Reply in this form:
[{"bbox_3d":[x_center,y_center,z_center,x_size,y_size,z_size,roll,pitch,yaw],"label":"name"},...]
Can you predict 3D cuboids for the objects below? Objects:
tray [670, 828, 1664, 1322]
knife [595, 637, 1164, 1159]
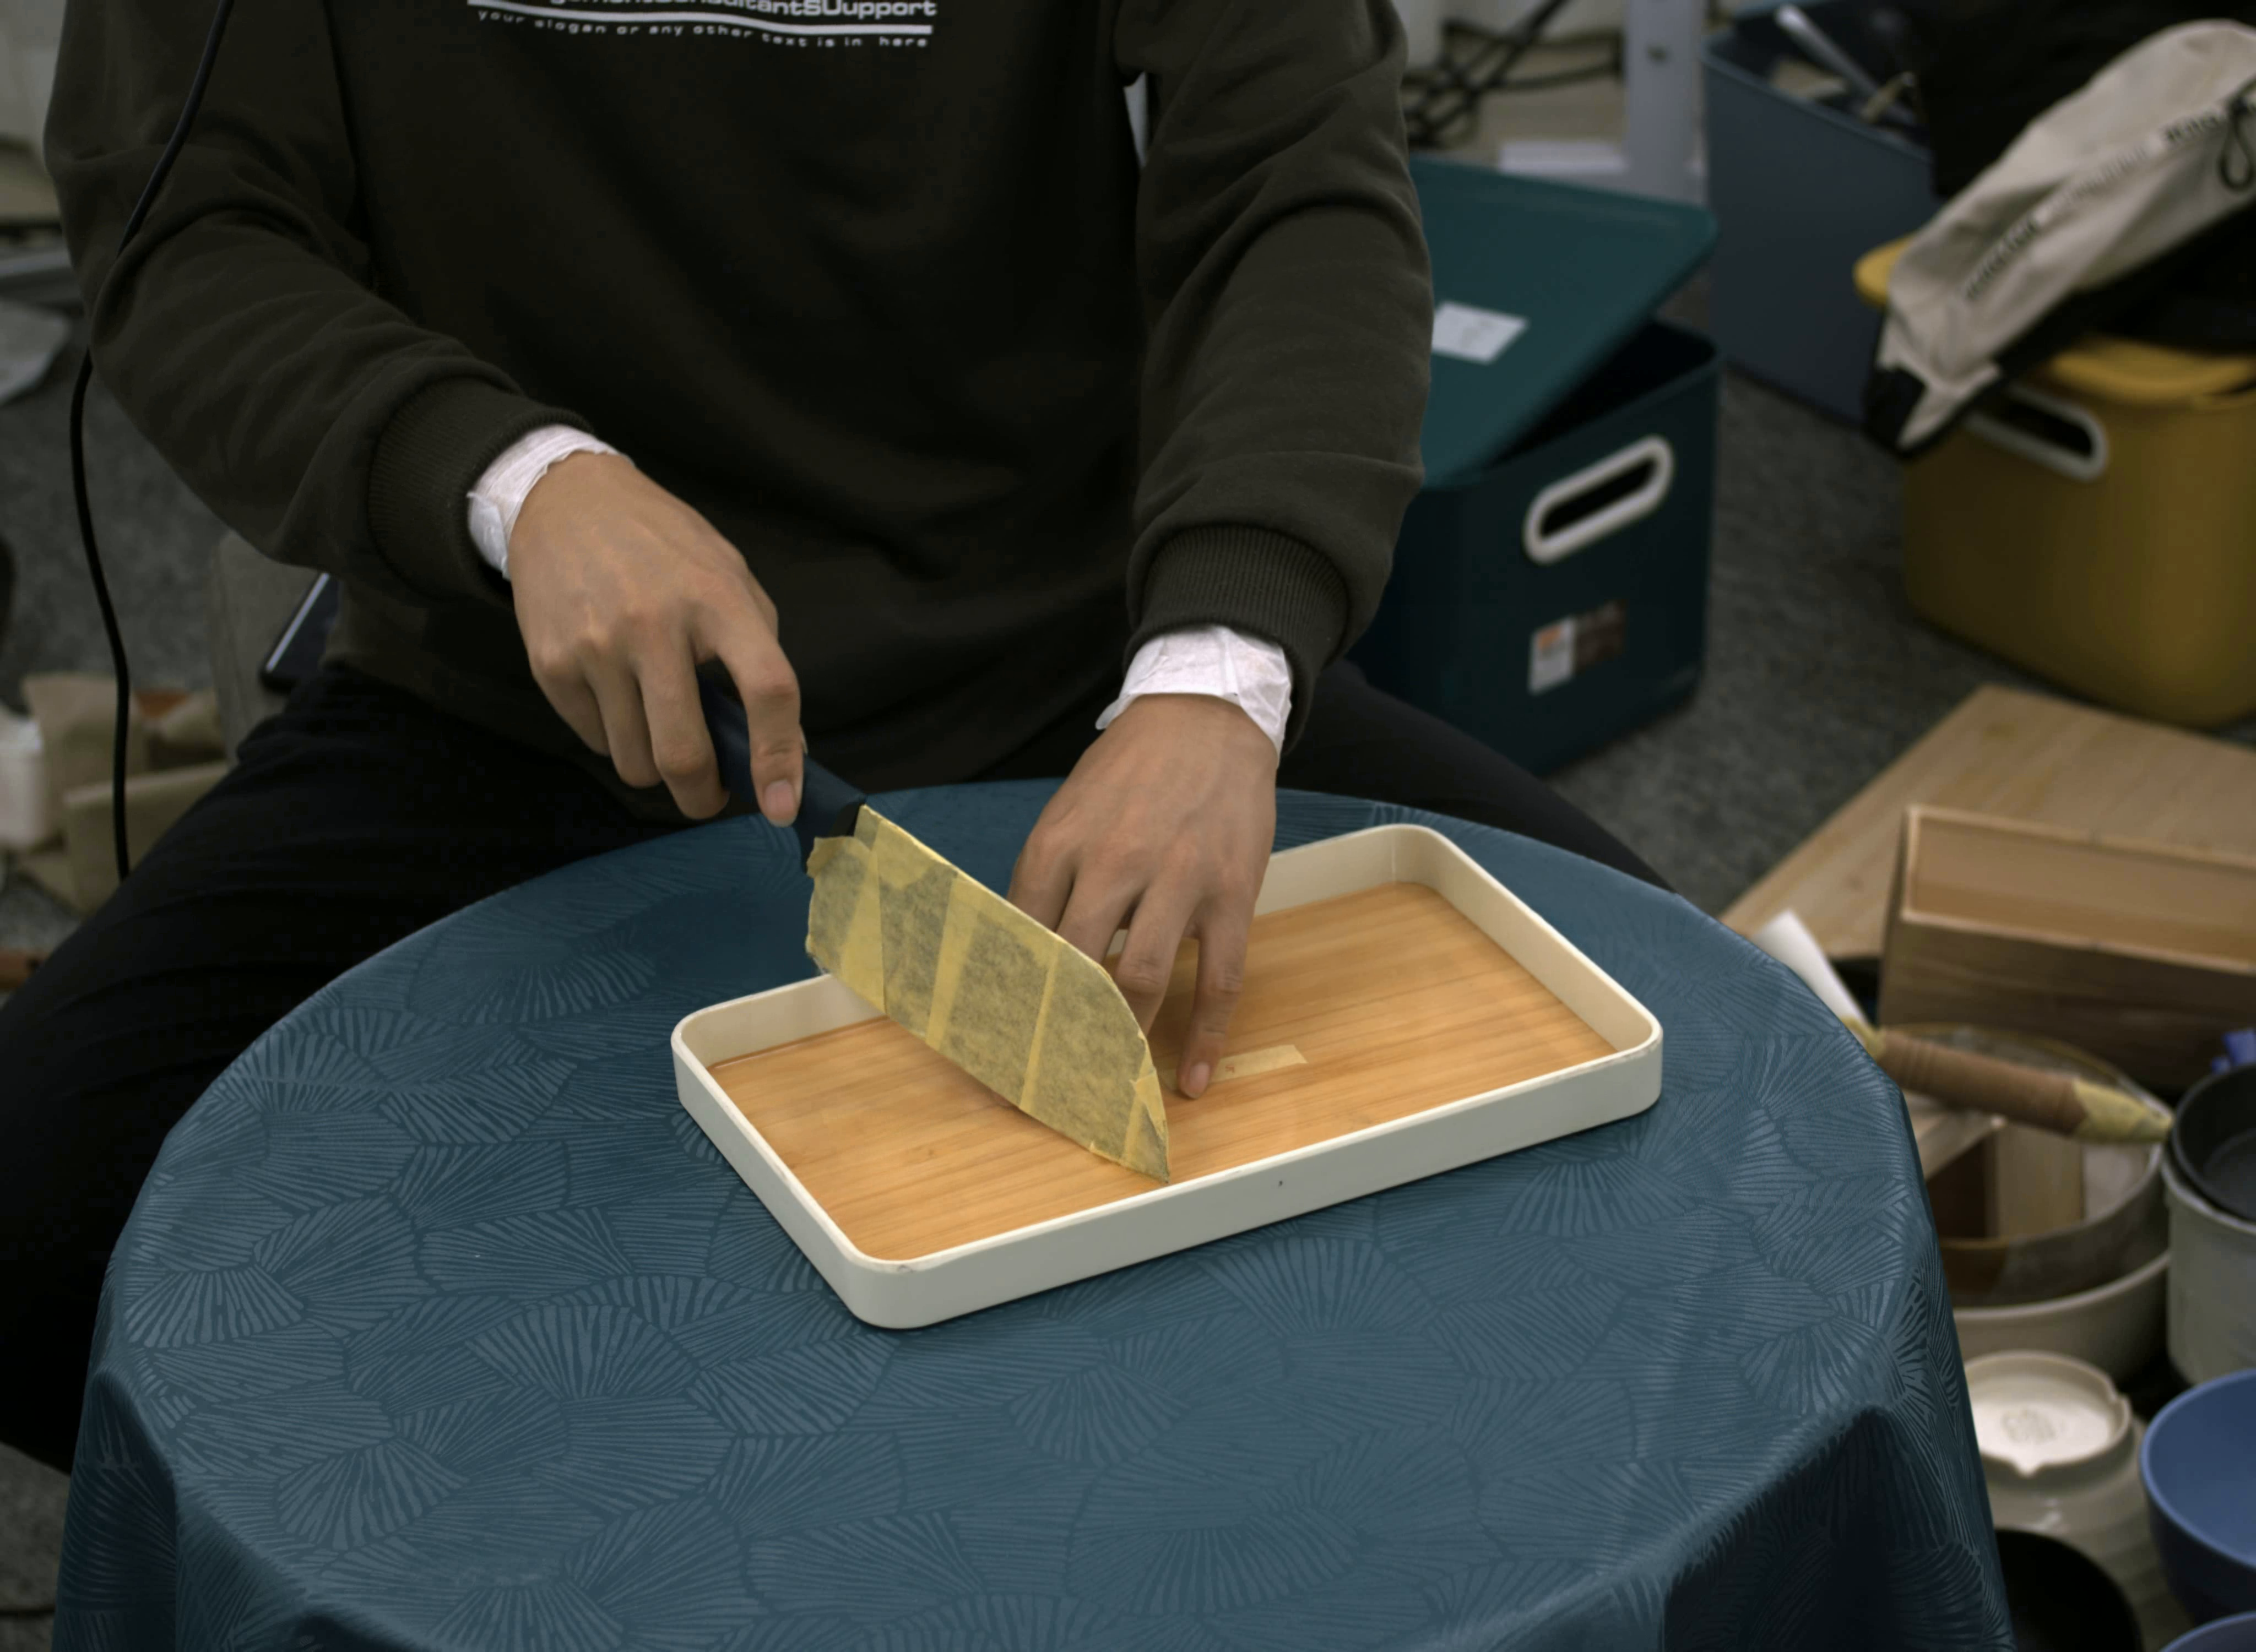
[{"bbox_3d":[0.012,0.080,1.911,0.301,0.027,0.192,-14,28,-22],"label":"tray"},{"bbox_3d":[-0.086,0.024,1.915,0.027,0.080,0.290,-18,46,-43],"label":"knife"}]
